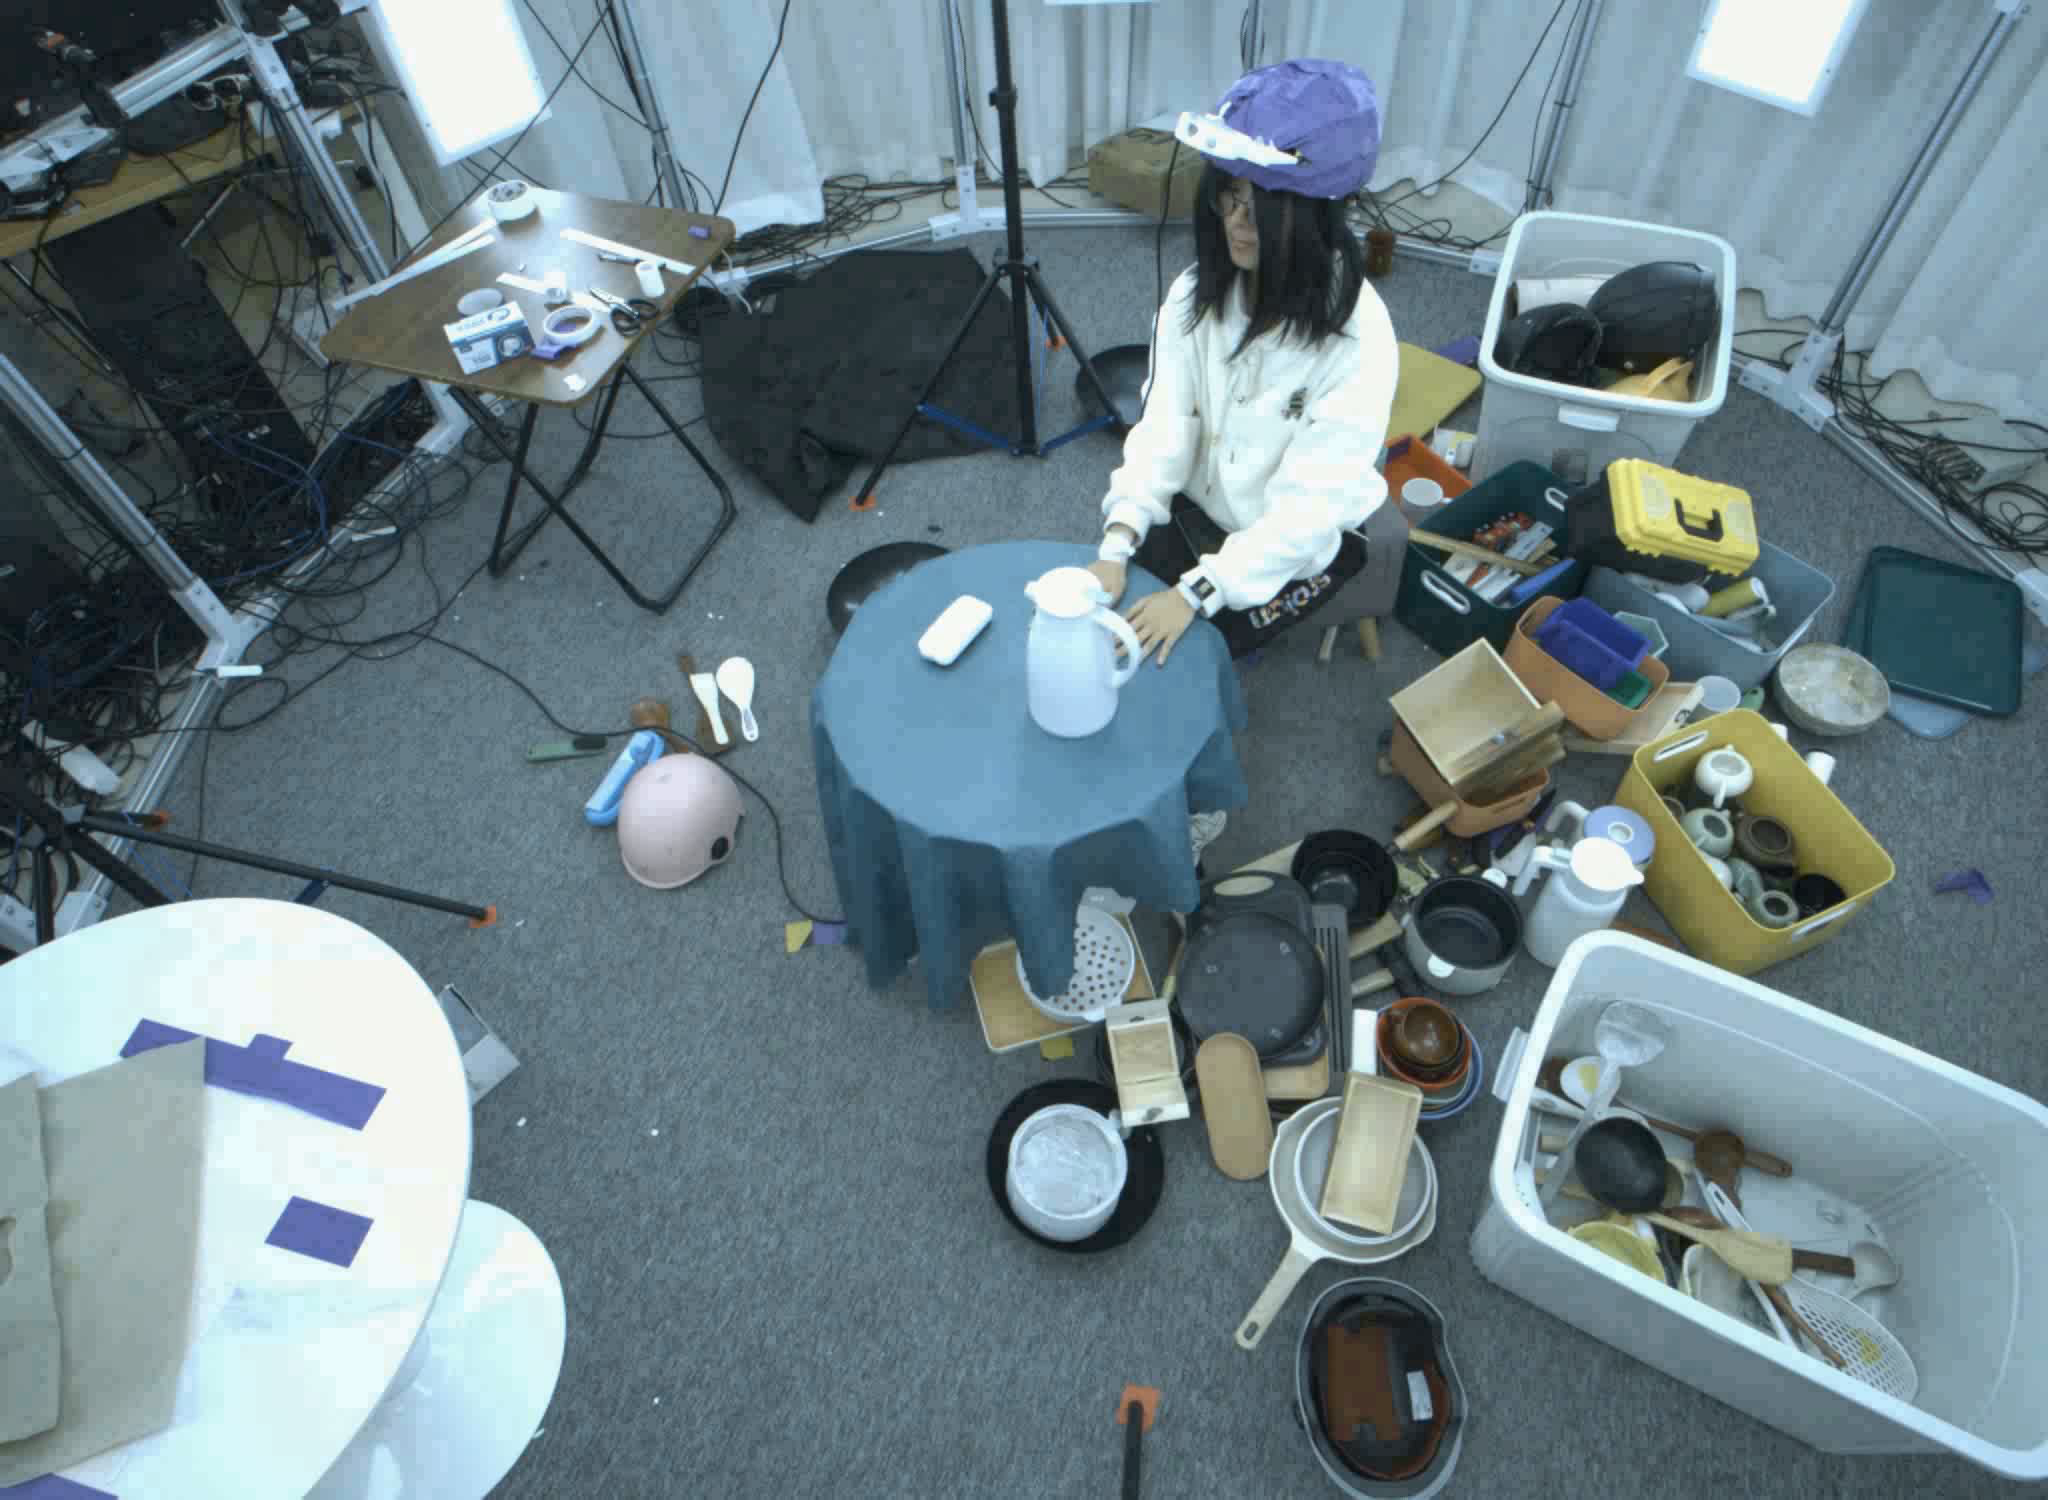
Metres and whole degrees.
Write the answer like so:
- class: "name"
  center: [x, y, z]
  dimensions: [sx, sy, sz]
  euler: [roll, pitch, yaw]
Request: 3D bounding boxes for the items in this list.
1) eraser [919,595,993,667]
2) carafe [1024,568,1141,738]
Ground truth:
- class: "eraser"
  center: [-0.104, -0.186, 1.903]
  dimensions: [0.062, 0.035, 0.132]
  euler: [29, 61, 19]
- class: "carafe"
  center: [0.084, -0.138, 1.729]
  dimensions: [0.166, 0.251, 0.132]
  euler: [18, 58, 15]
